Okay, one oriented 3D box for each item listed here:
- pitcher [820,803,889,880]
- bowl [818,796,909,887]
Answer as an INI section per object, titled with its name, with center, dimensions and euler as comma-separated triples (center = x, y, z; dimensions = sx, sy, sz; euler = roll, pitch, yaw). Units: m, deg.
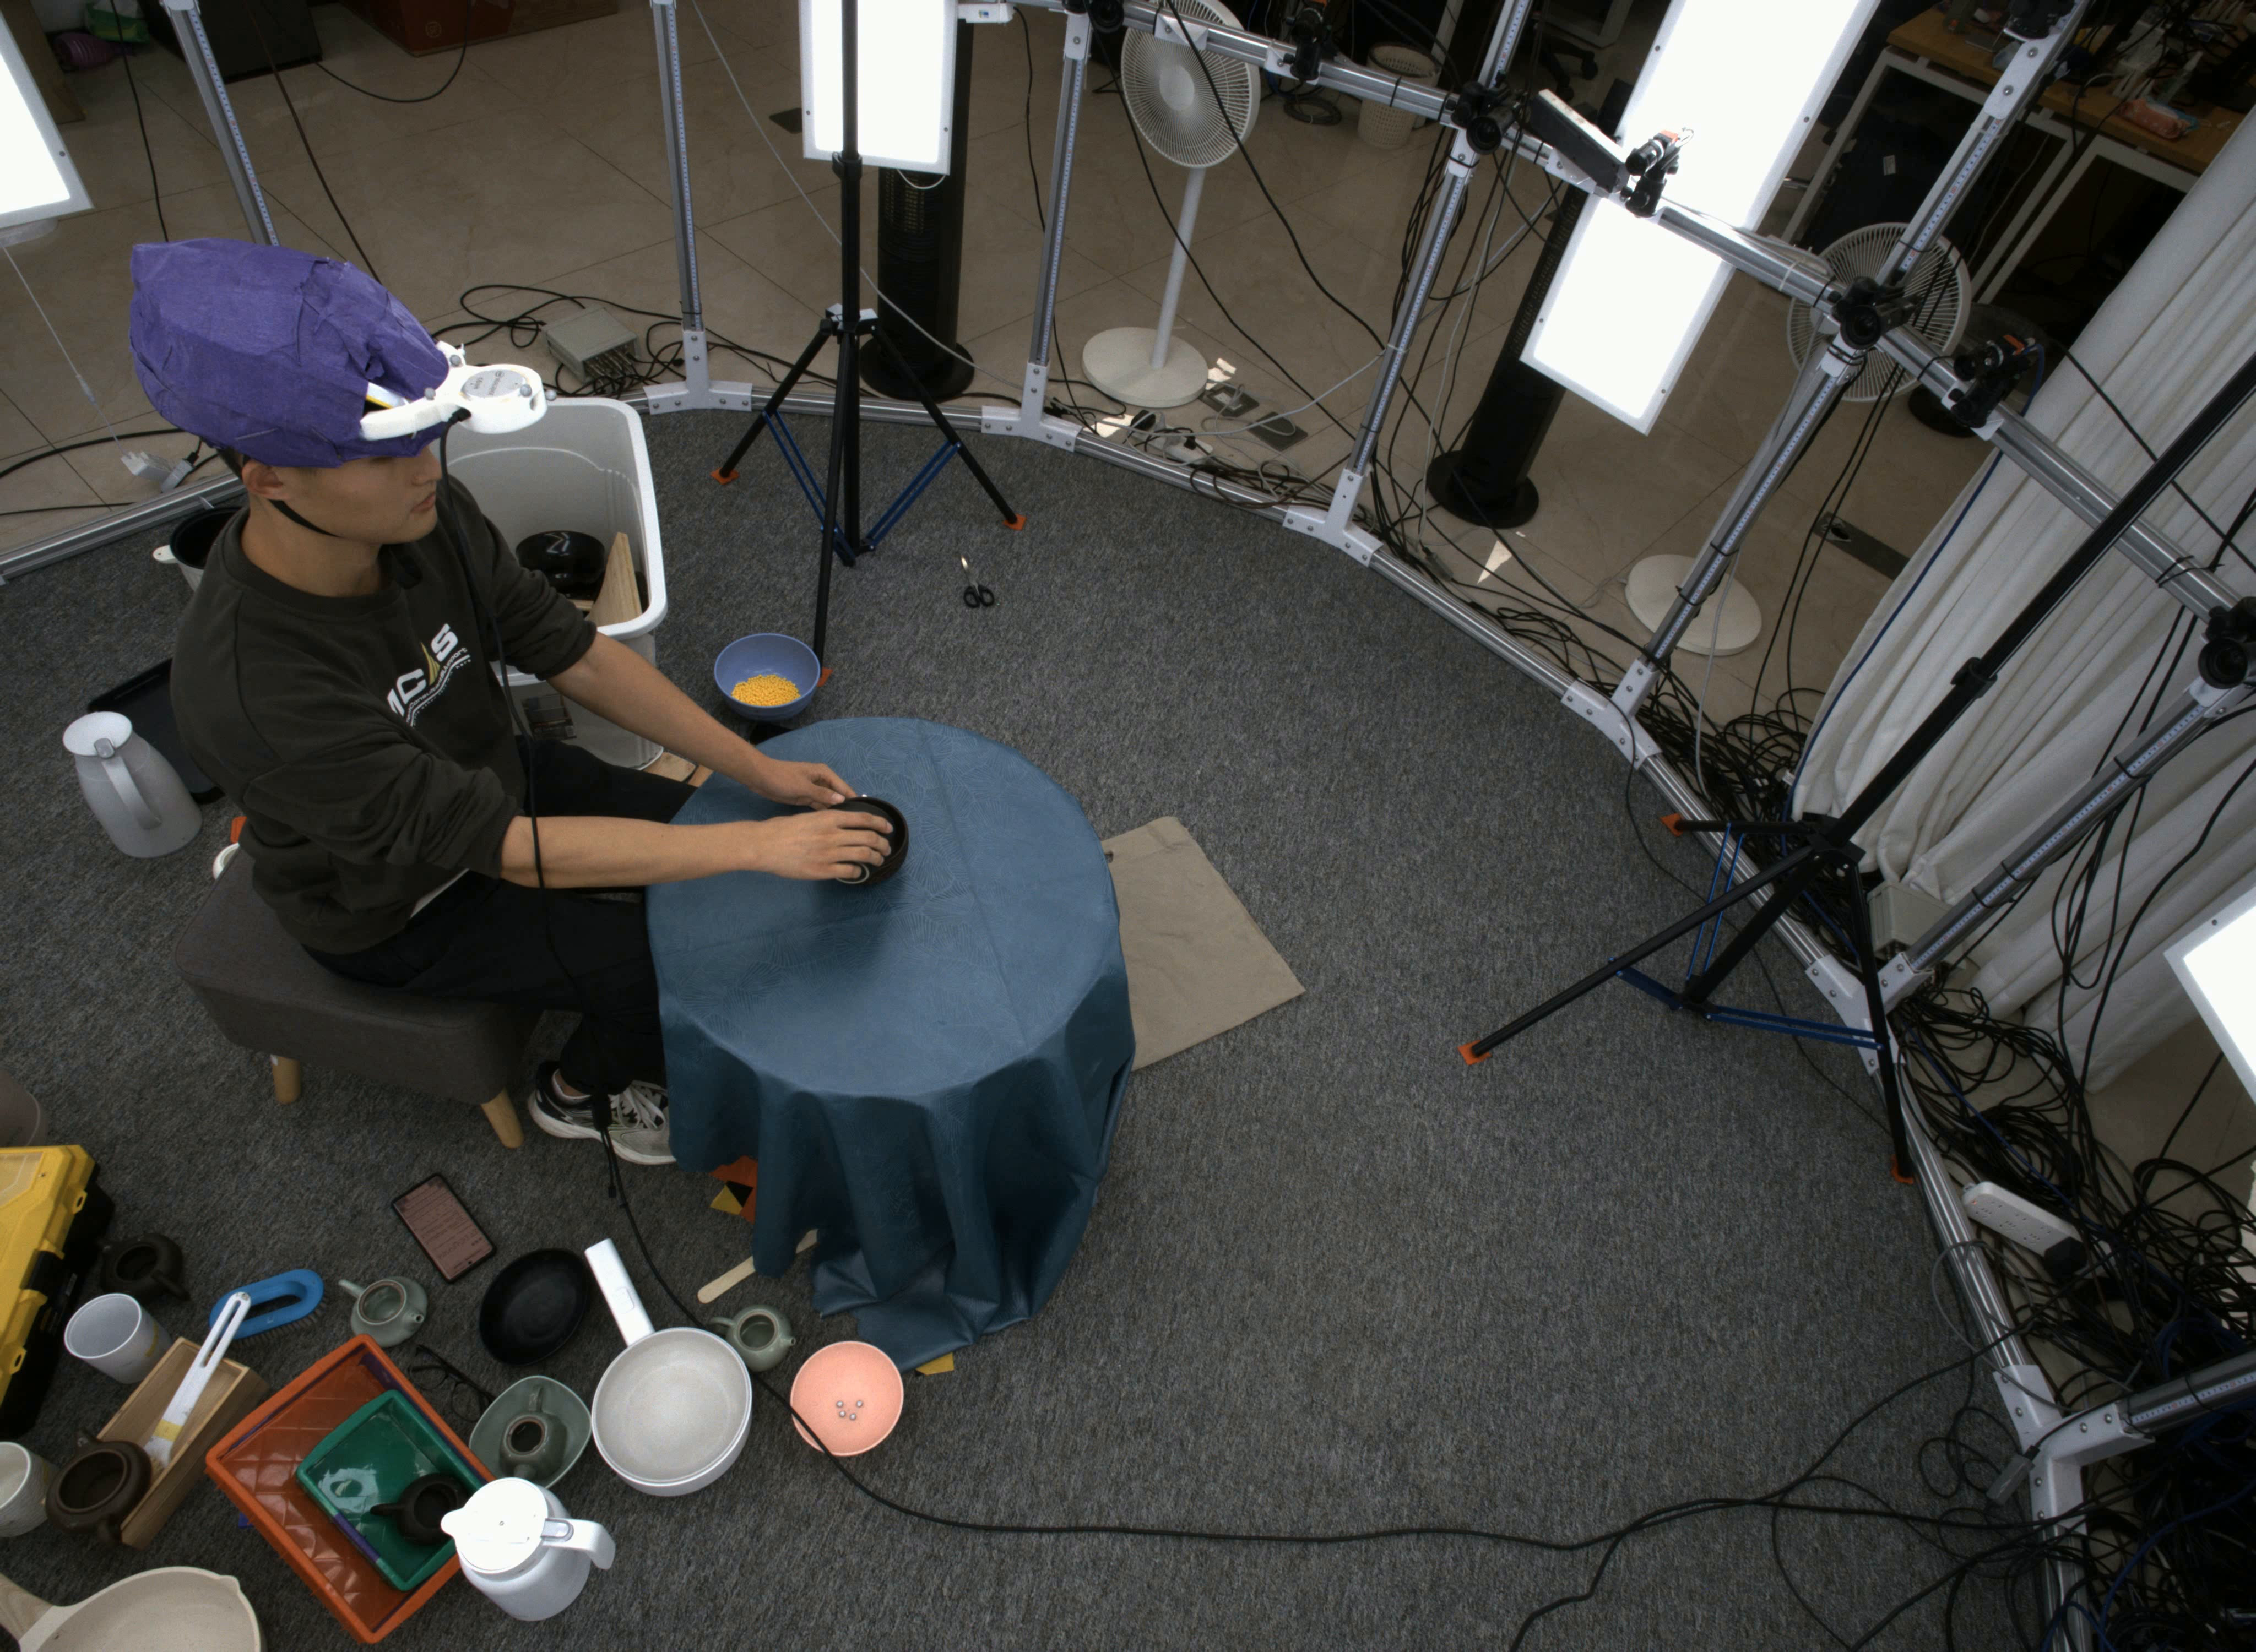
[pitcher]
center = -0.337, 0.025, 1.594
dimensions = 0.083, 0.099, 0.070
euler = -3, 50, 0
[bowl]
center = -0.344, 0.027, 1.689
dimensions = 0.118, 0.071, 0.116
euler = 8, 53, -9
